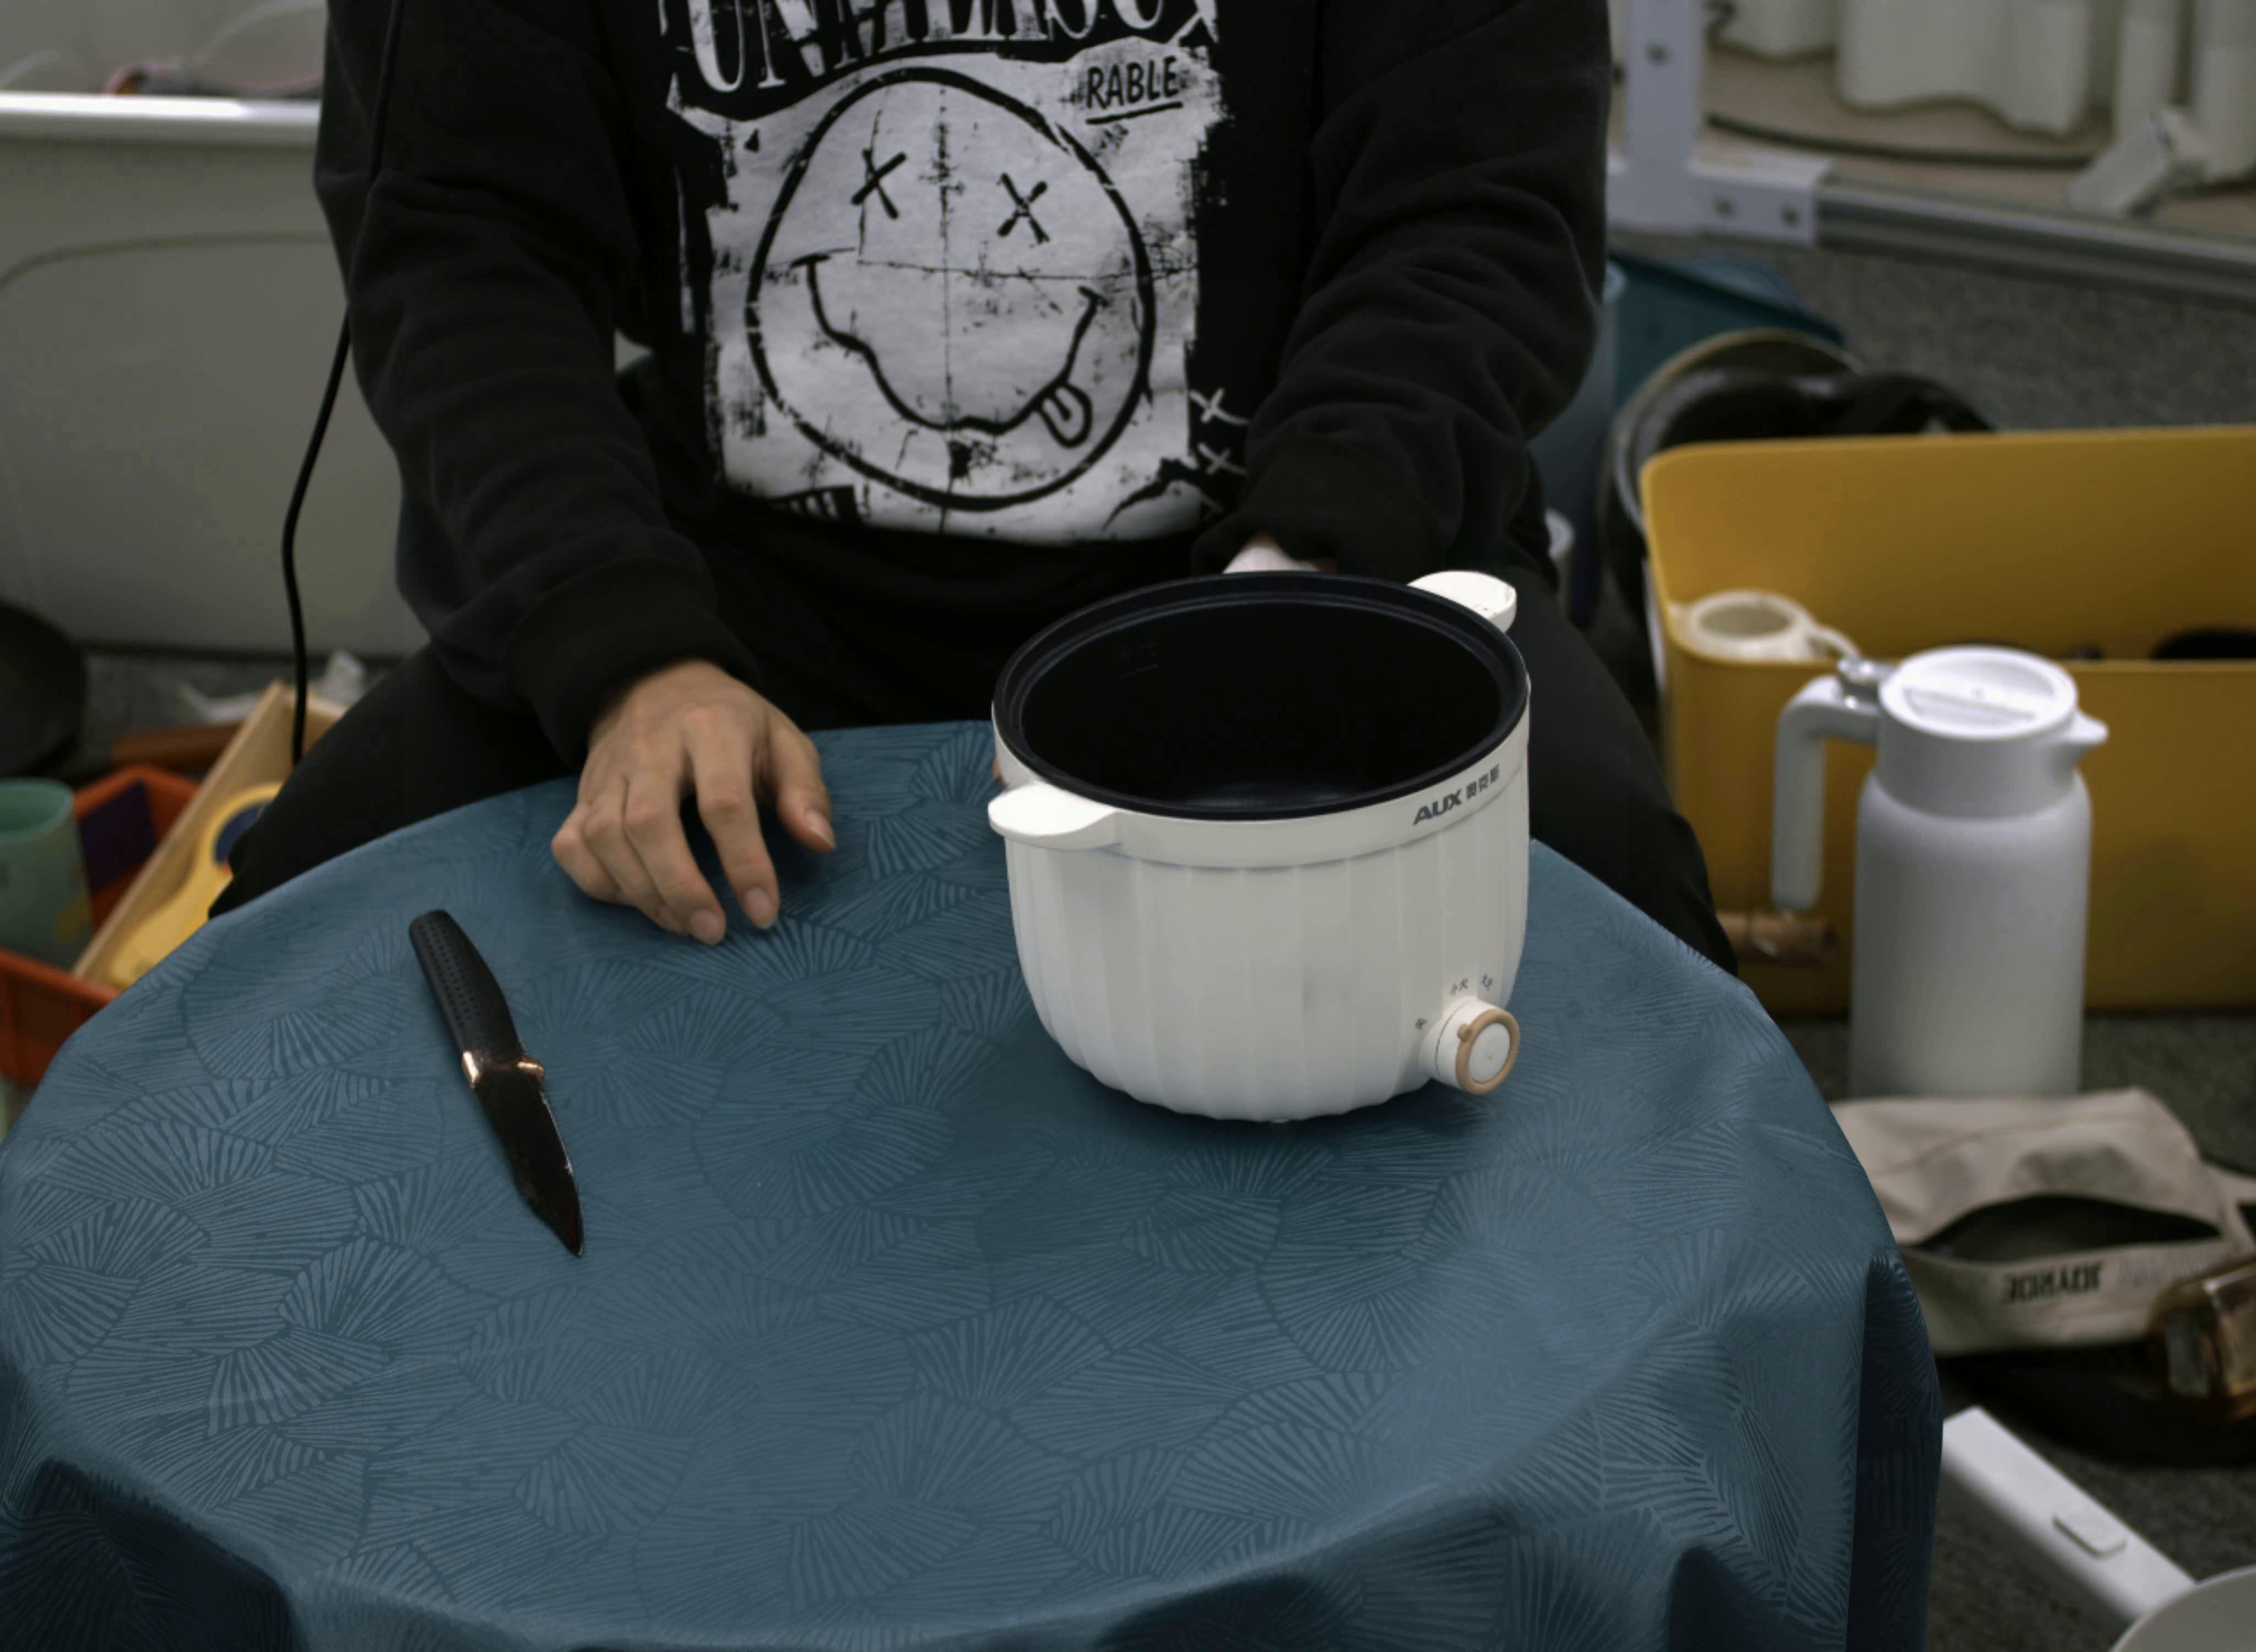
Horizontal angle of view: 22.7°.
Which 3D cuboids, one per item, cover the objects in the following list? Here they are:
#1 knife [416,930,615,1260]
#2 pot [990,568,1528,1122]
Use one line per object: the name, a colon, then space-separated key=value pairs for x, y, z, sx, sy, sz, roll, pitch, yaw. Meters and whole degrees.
knife: x=-0.212 y=0.092 z=1.929 sx=0.026 sy=0.017 sz=0.227 roll=4 pitch=25 yaw=-23
pot: x=0.052 y=0.012 z=1.917 sx=0.190 sy=0.141 sz=0.243 roll=18 pitch=34 yaw=41
